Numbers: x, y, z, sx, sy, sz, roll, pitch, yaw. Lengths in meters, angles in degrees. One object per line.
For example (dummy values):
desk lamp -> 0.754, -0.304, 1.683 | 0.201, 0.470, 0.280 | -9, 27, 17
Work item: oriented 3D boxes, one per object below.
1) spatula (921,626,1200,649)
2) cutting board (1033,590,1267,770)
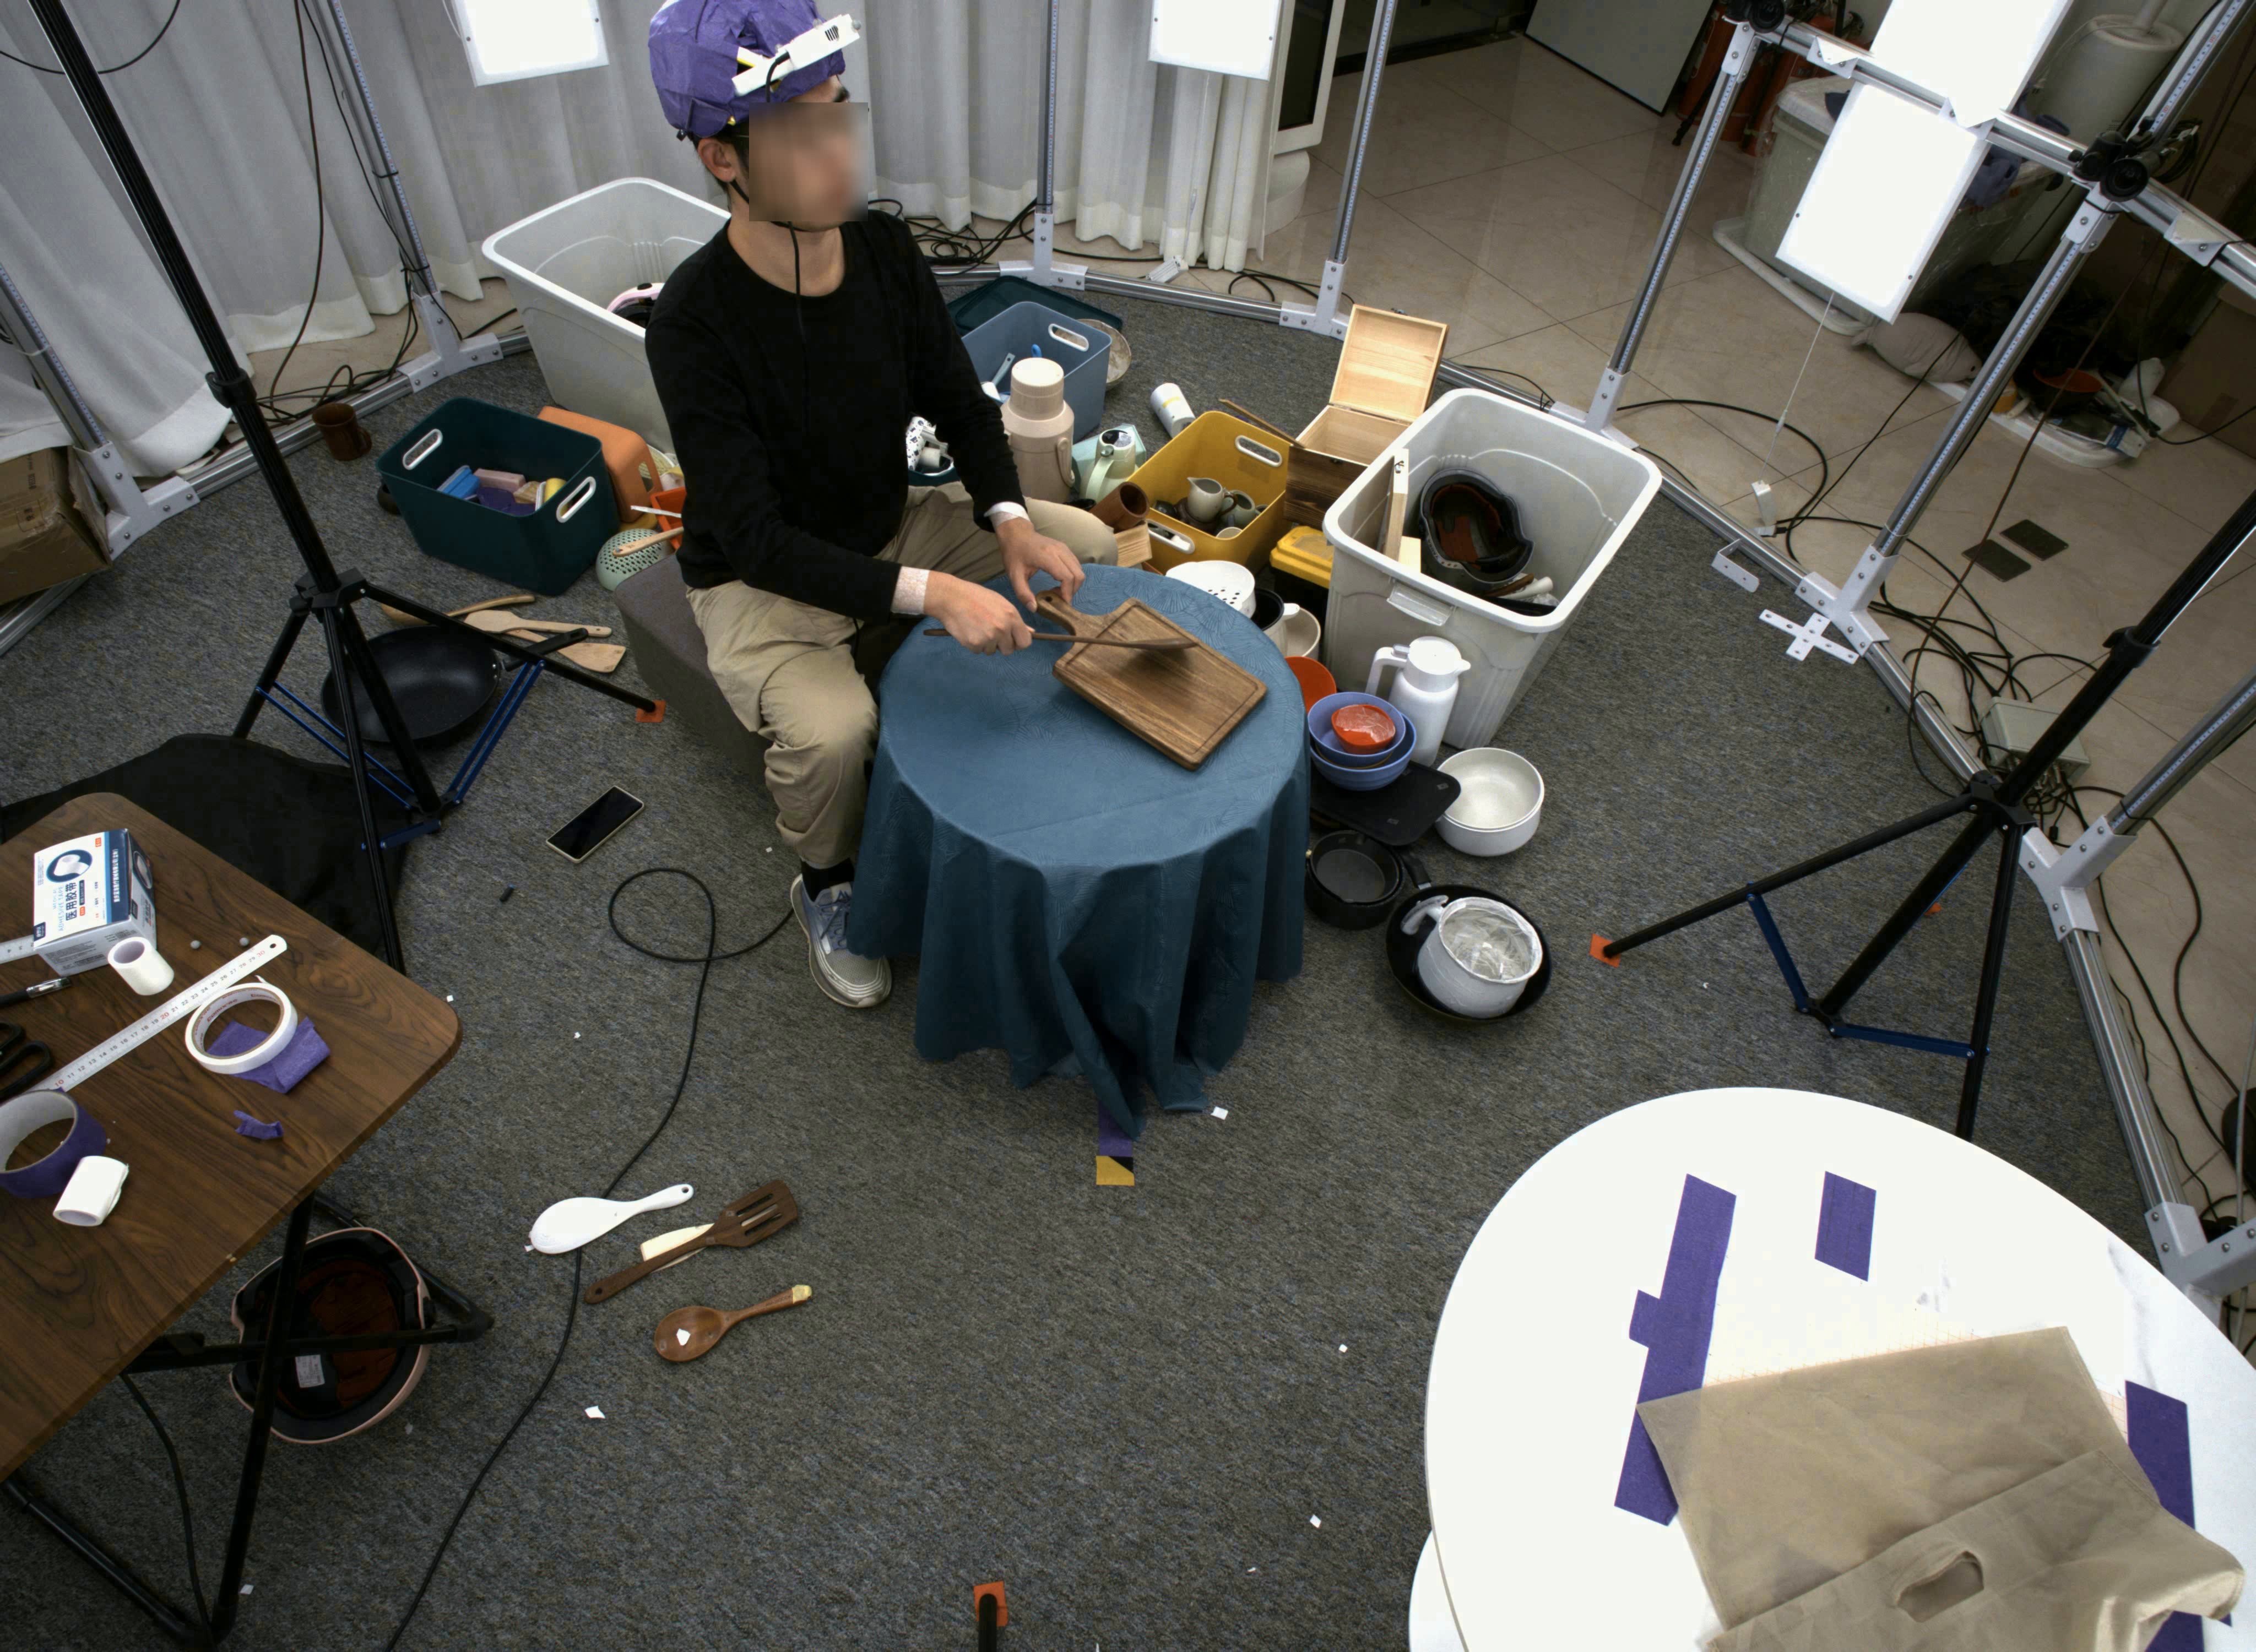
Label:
spatula -> -0.089, -0.260, 1.769 | 0.385, 0.015, 0.097 | 1, 12, -14
cutting board -> 0.008, -0.235, 1.829 | 0.355, 0.023, 0.204 | 35, 55, 14
